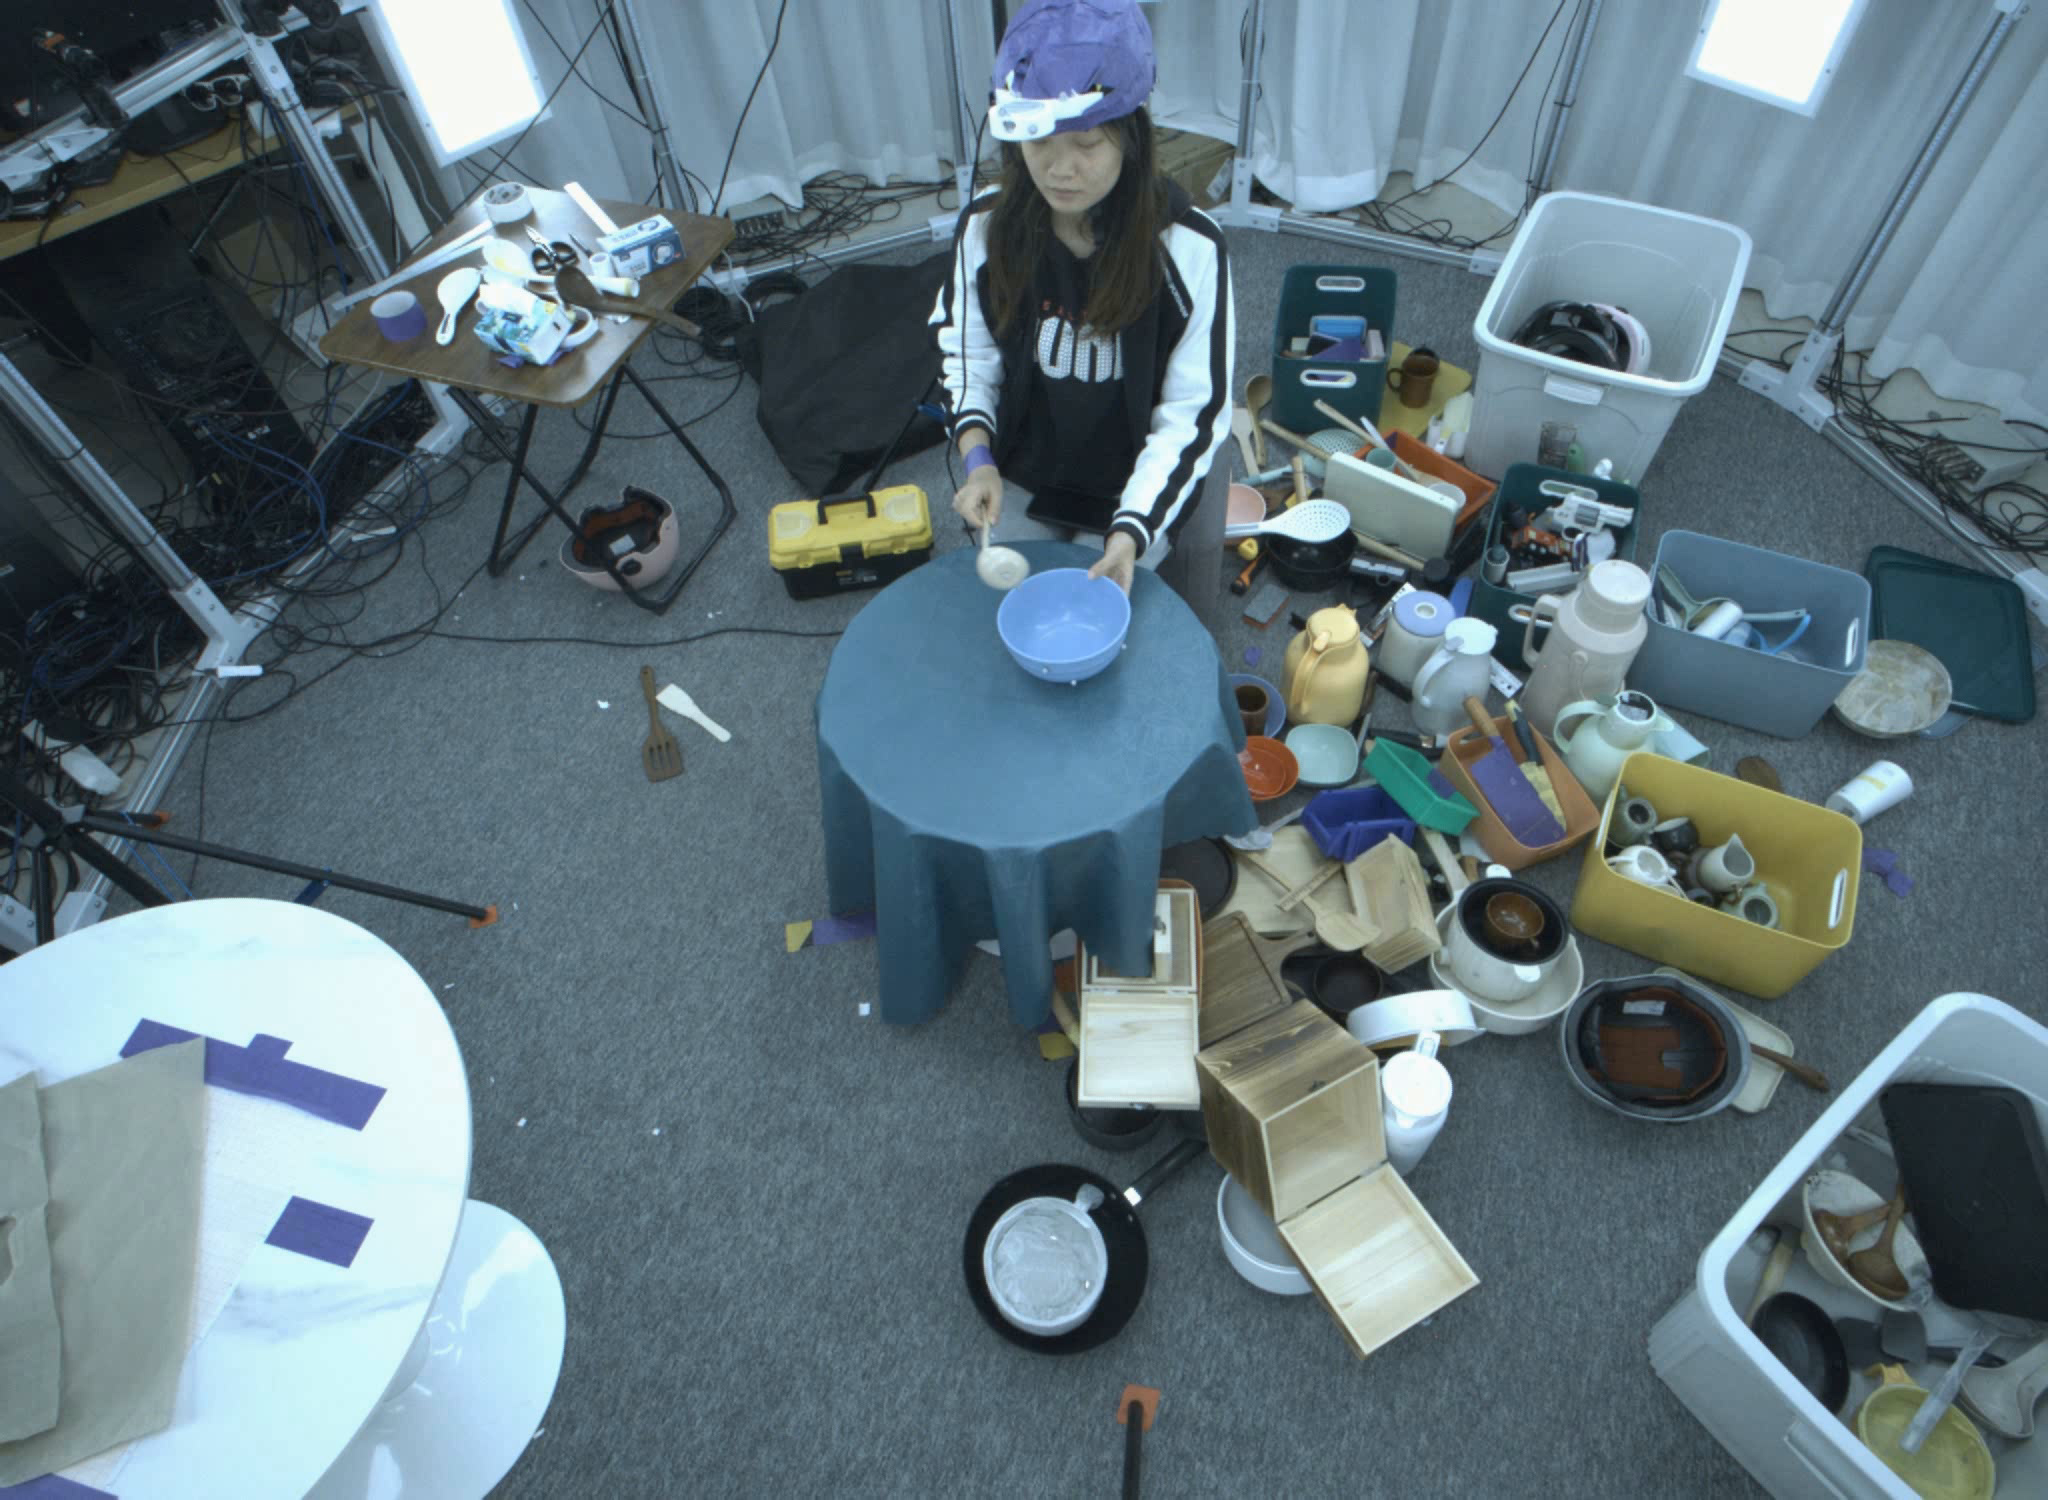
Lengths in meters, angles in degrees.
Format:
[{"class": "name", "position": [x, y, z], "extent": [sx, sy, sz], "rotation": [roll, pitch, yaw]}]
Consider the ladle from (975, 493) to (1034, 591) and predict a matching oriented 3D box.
[{"class": "ladle", "position": [-0.033, -0.325, 1.792], "extent": [0.072, 0.074, 0.251], "rotation": [-28, 41, 19]}]

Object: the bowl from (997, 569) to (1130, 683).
[{"class": "bowl", "position": [0.064, -0.171, 1.840], "extent": [0.196, 0.097, 0.194], "rotation": [-3, 52, 5]}]
